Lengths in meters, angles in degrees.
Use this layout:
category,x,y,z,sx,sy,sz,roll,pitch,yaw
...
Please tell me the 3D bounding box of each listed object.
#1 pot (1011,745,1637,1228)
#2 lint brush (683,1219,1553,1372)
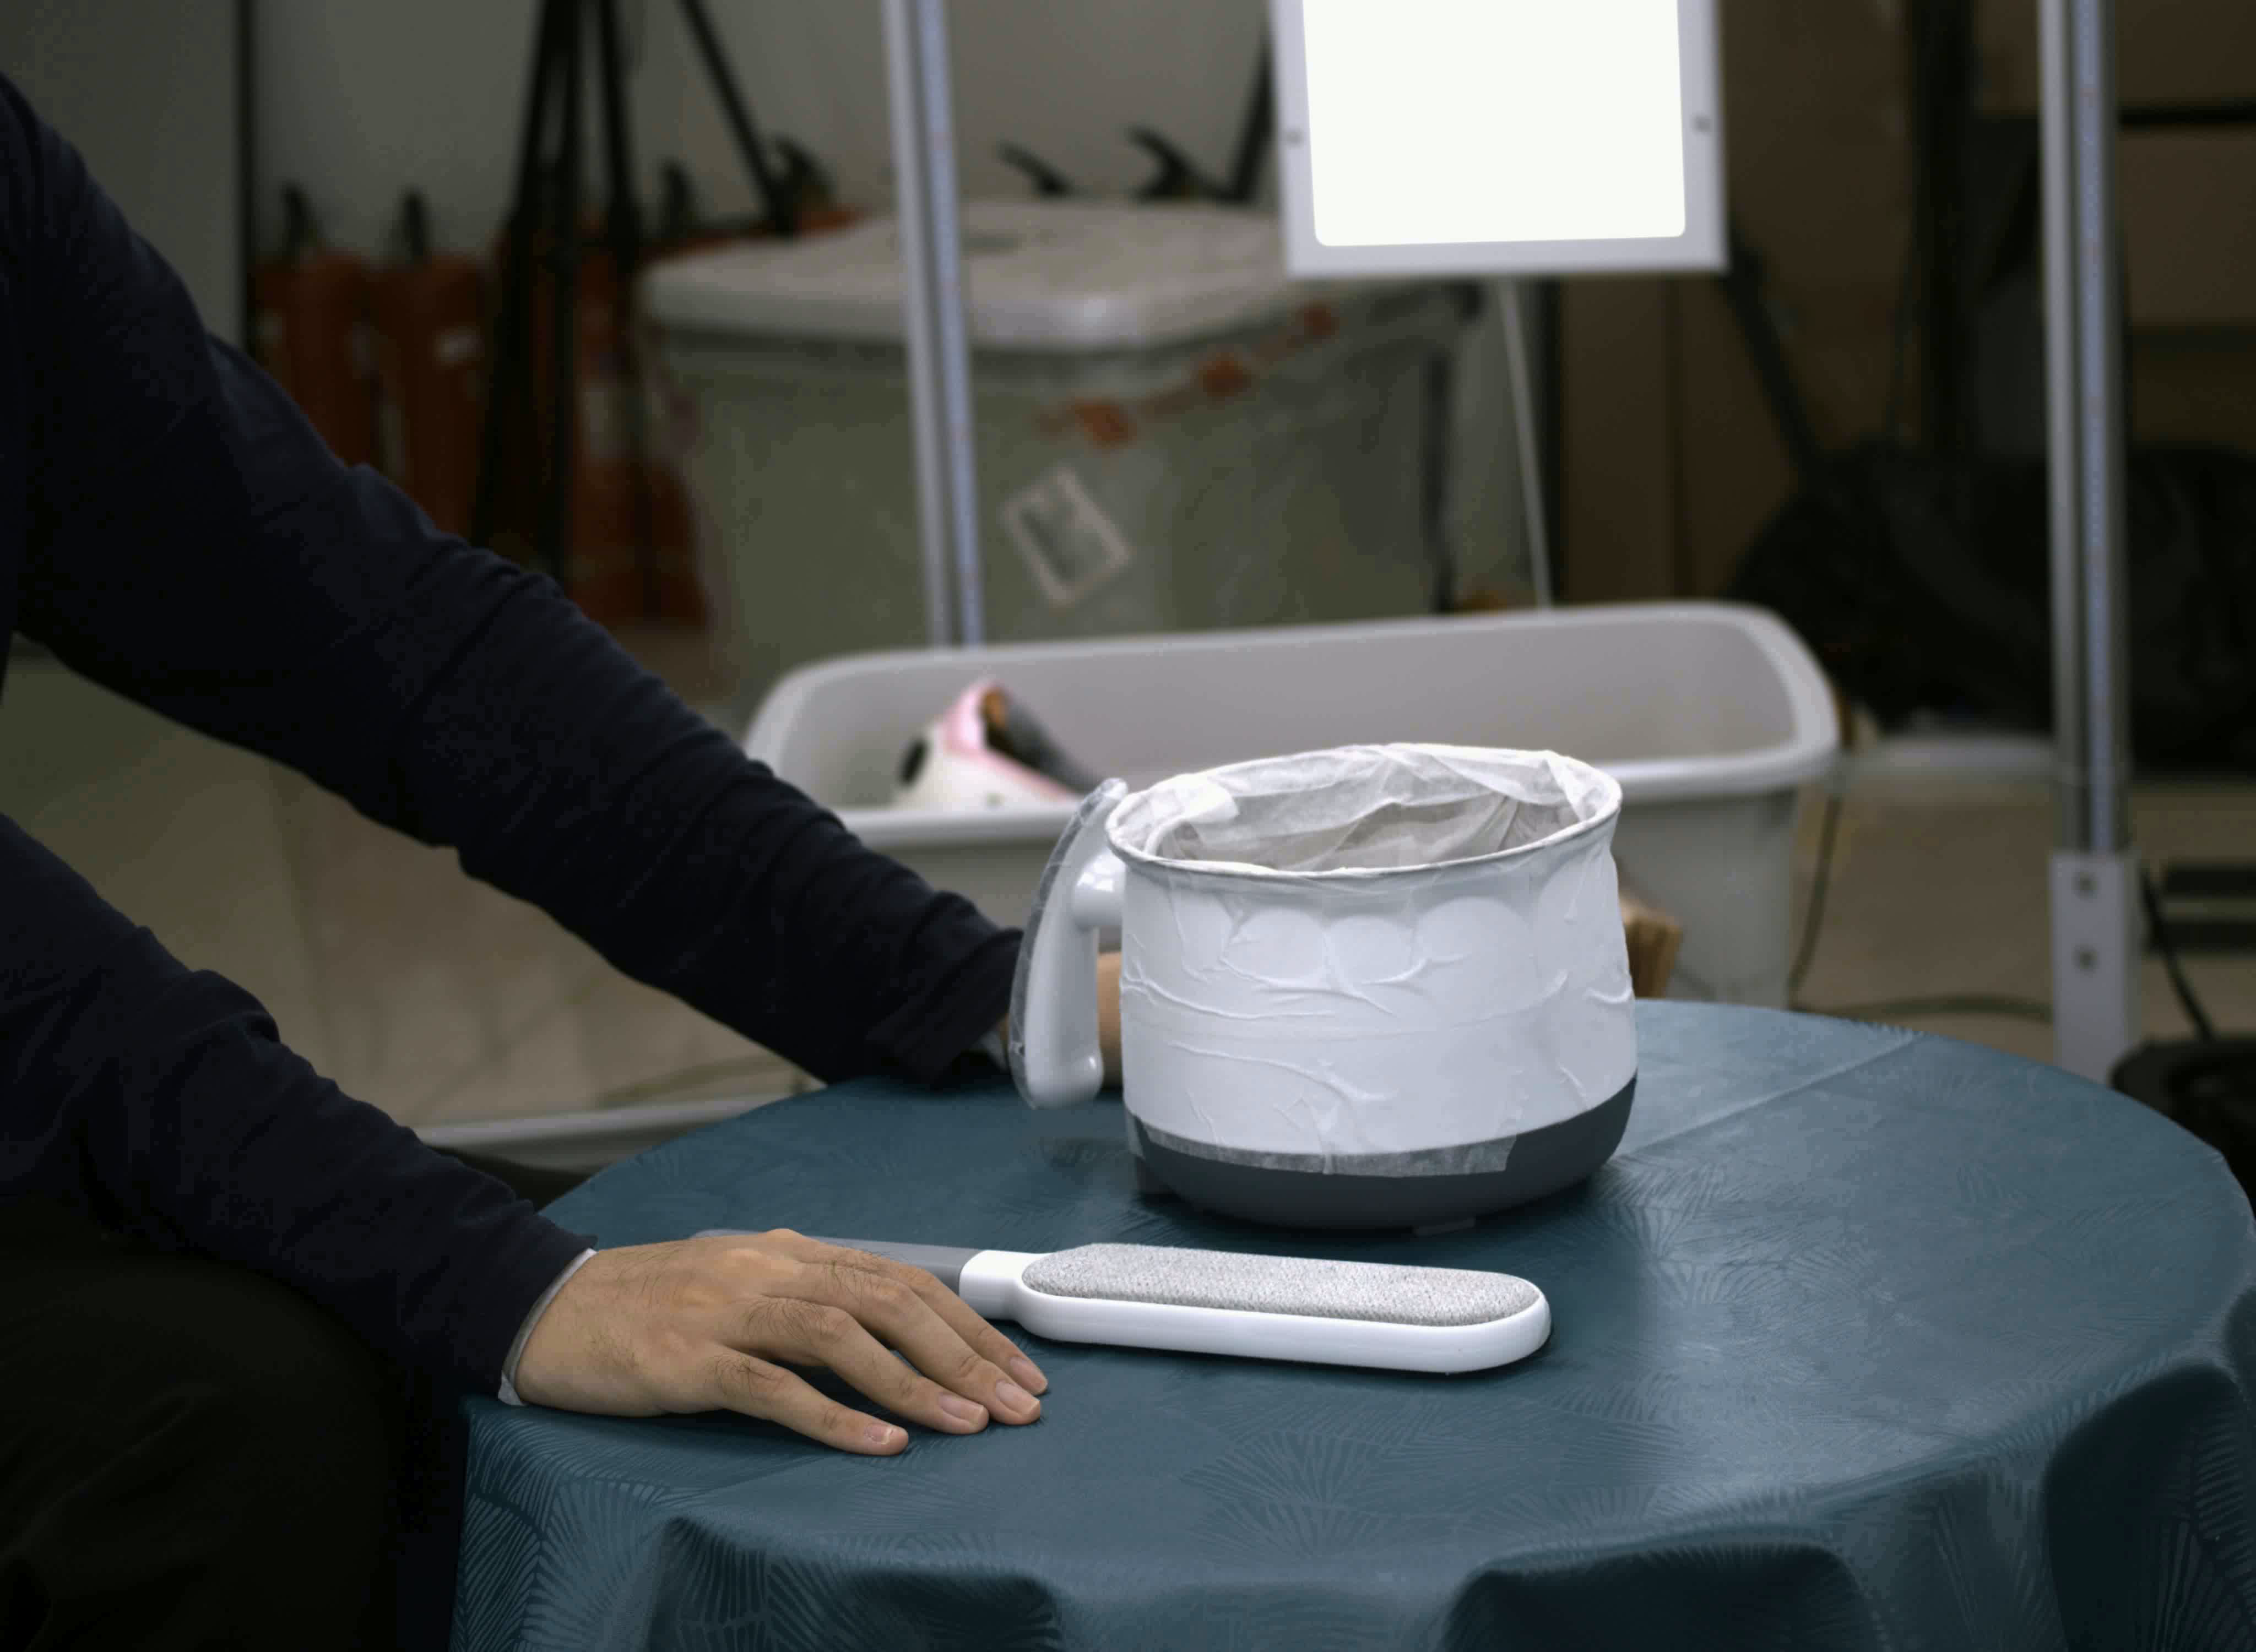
category,x,y,z,sx,sy,sz,roll,pitch,yaw
pot,0.061,0.051,1.893,0.238,0.137,0.174,4,14,32
lint brush,-0.009,0.147,1.768,0.314,0.021,0.059,2,22,29
